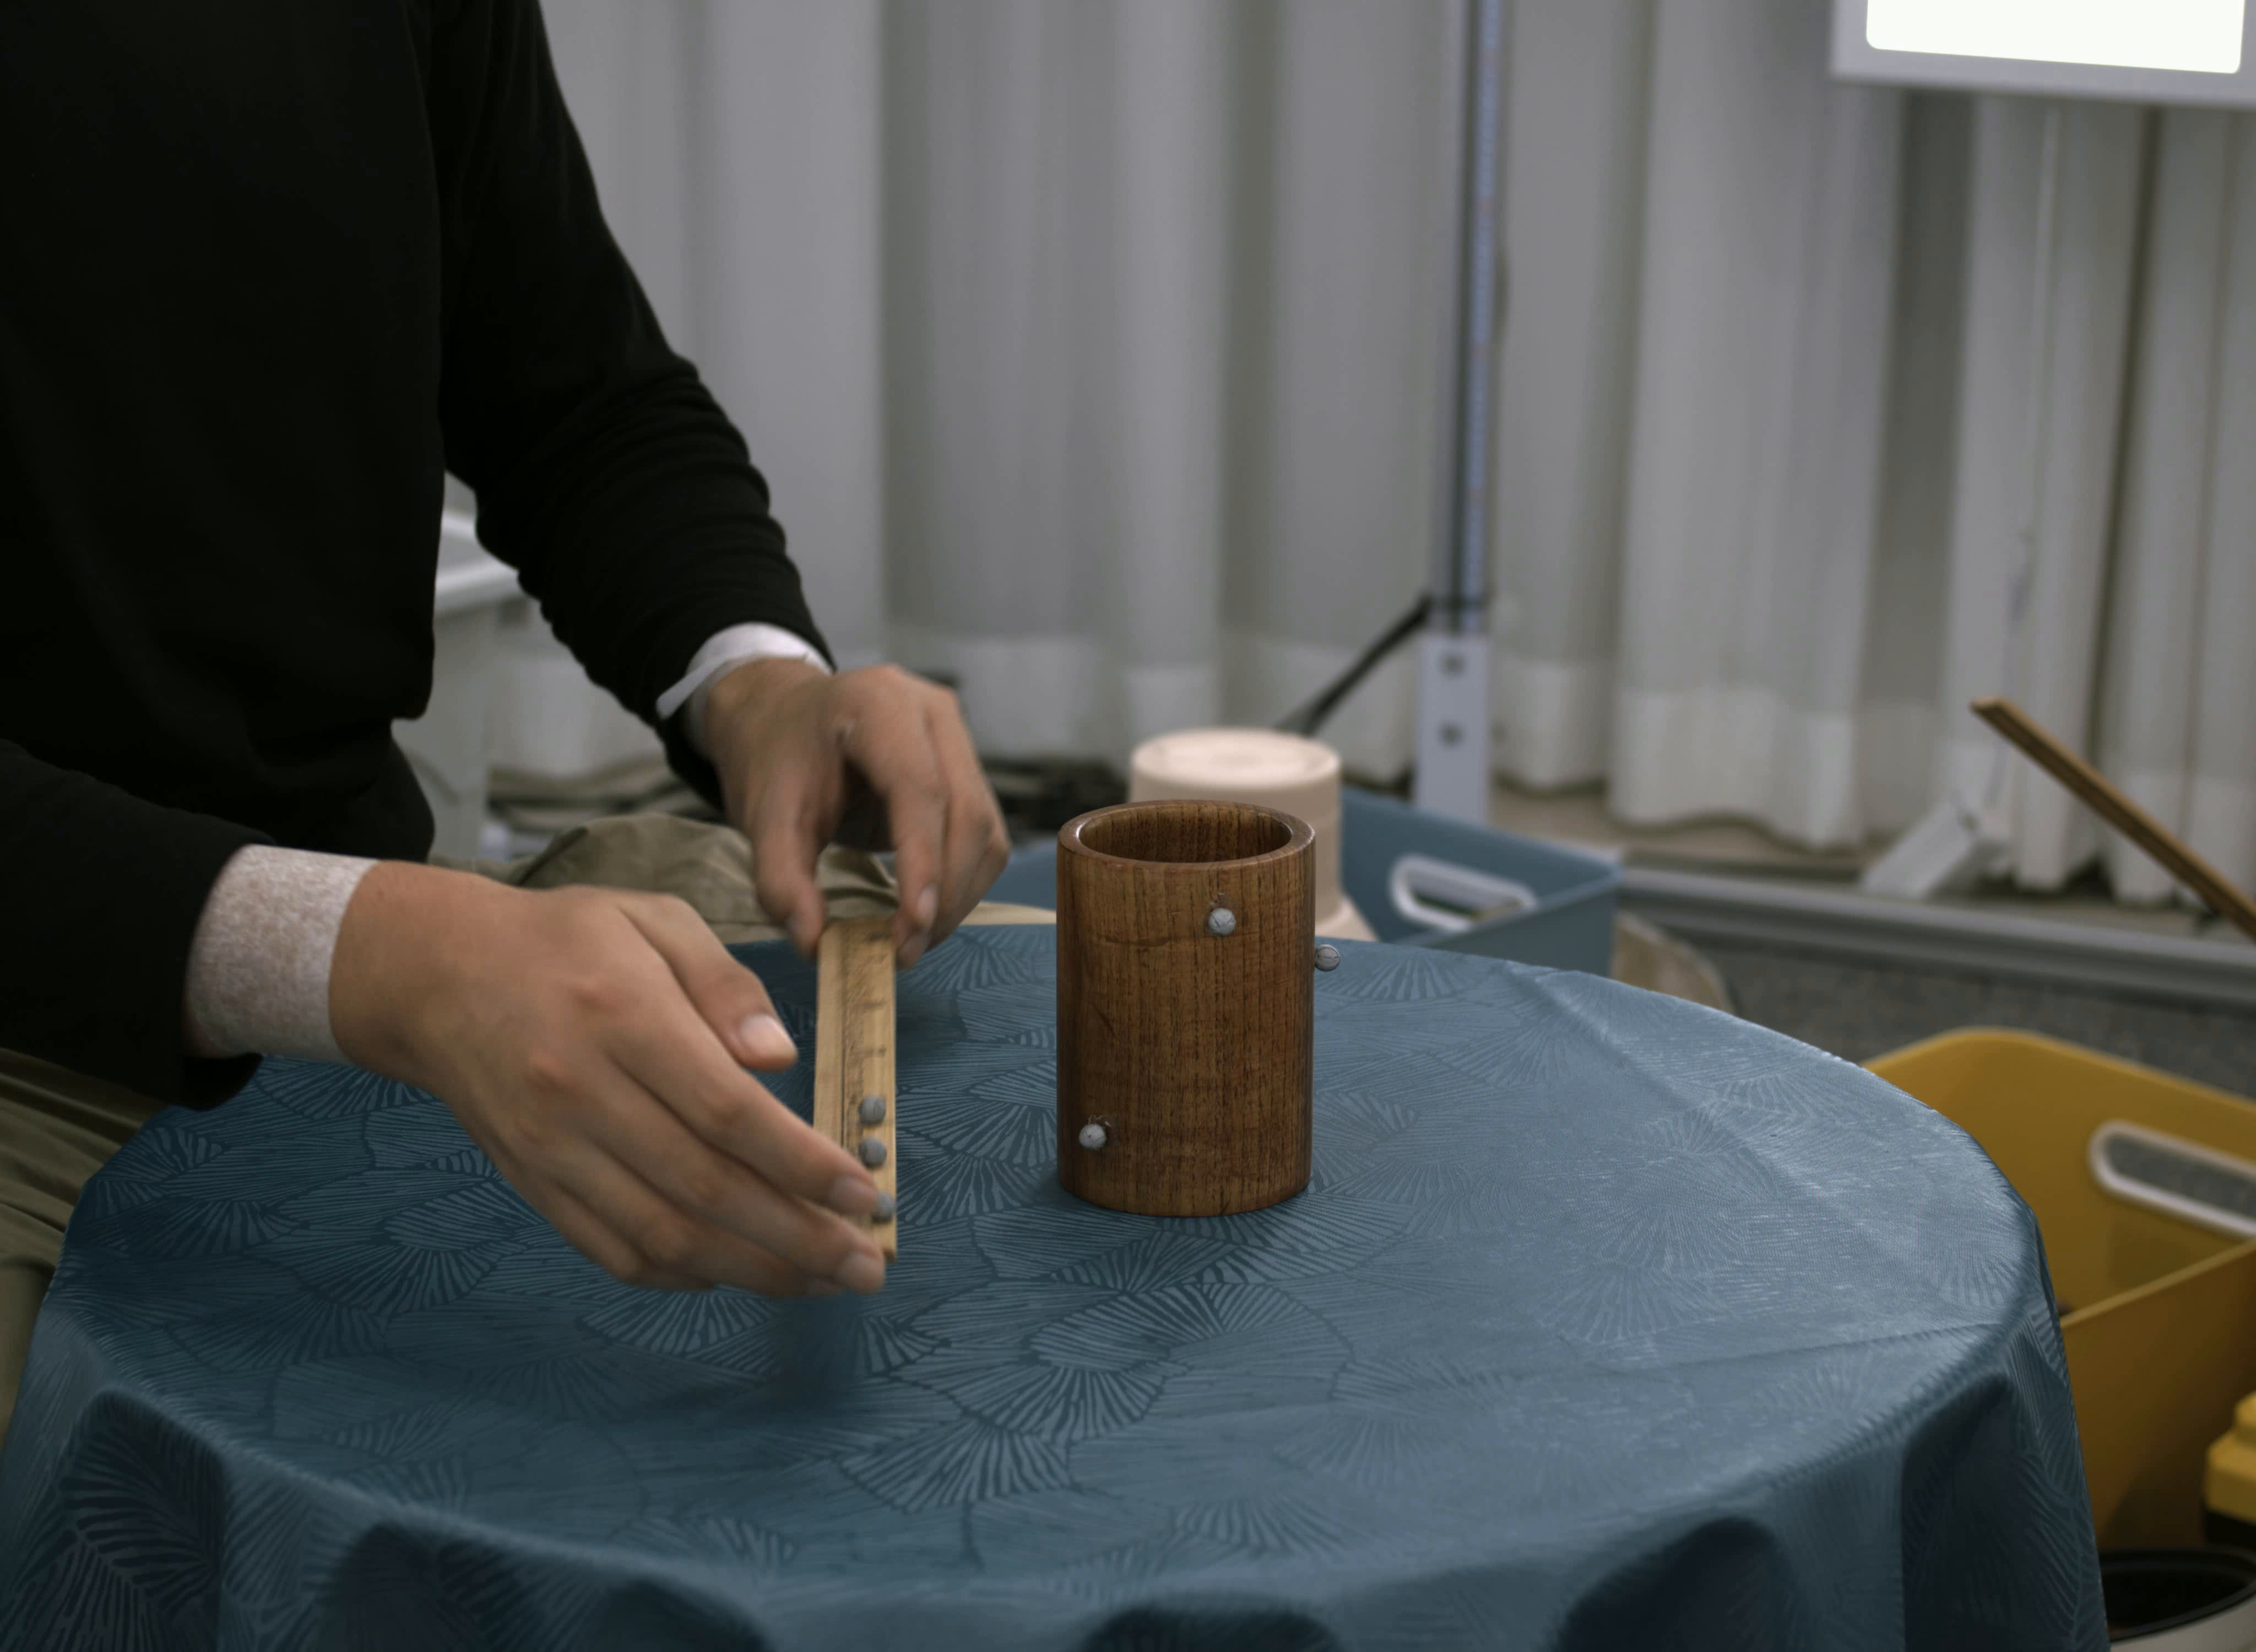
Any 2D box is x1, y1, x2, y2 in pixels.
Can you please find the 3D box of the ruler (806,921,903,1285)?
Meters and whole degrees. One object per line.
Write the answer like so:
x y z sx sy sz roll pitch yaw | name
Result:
-0.082 0.077 1.596 0.027 0.022 0.330 -1 15 -2 | ruler

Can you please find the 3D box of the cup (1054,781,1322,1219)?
0.018 0.053 1.617 0.087 0.119 0.087 1 15 0 | cup
